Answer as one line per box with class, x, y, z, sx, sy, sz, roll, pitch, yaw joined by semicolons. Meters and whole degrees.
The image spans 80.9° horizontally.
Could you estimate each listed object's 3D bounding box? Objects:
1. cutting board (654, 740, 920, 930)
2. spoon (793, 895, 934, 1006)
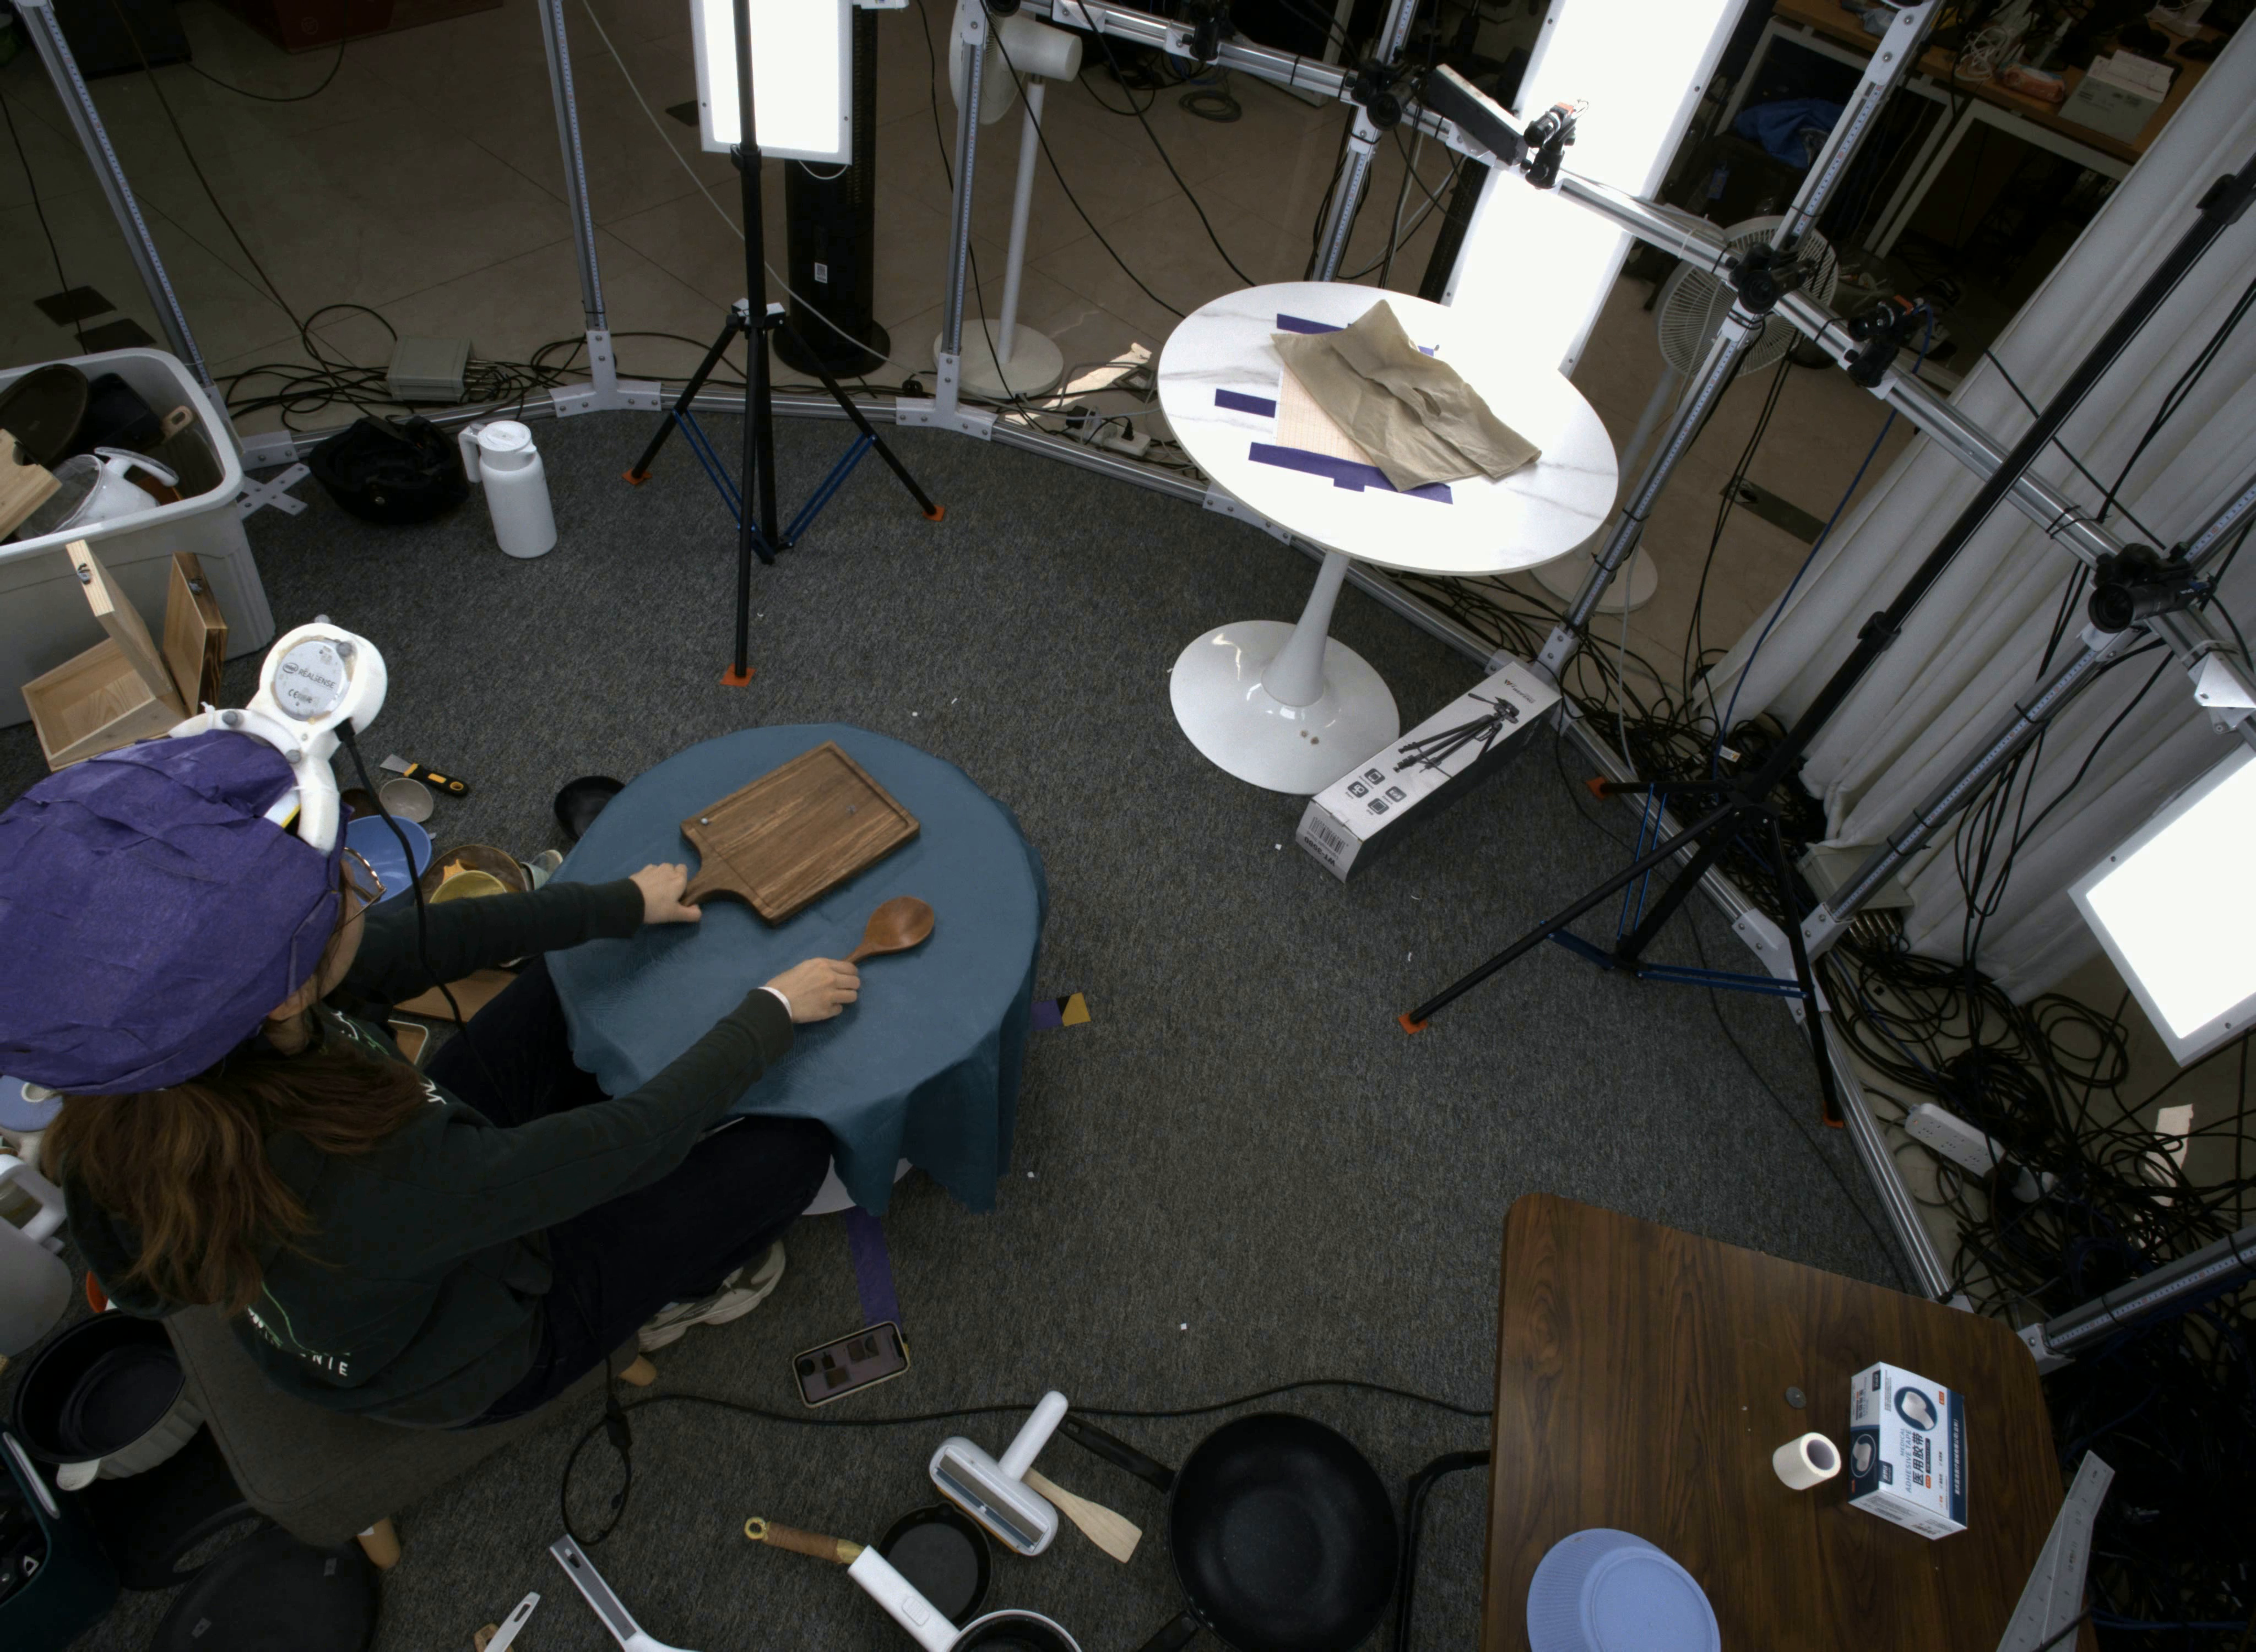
cutting board;-0.463;0.027;1.683;0.197;0.023;0.353;42;54;16
spoon;-0.331;0.155;1.623;0.074;0.017;0.216;42;53;14
